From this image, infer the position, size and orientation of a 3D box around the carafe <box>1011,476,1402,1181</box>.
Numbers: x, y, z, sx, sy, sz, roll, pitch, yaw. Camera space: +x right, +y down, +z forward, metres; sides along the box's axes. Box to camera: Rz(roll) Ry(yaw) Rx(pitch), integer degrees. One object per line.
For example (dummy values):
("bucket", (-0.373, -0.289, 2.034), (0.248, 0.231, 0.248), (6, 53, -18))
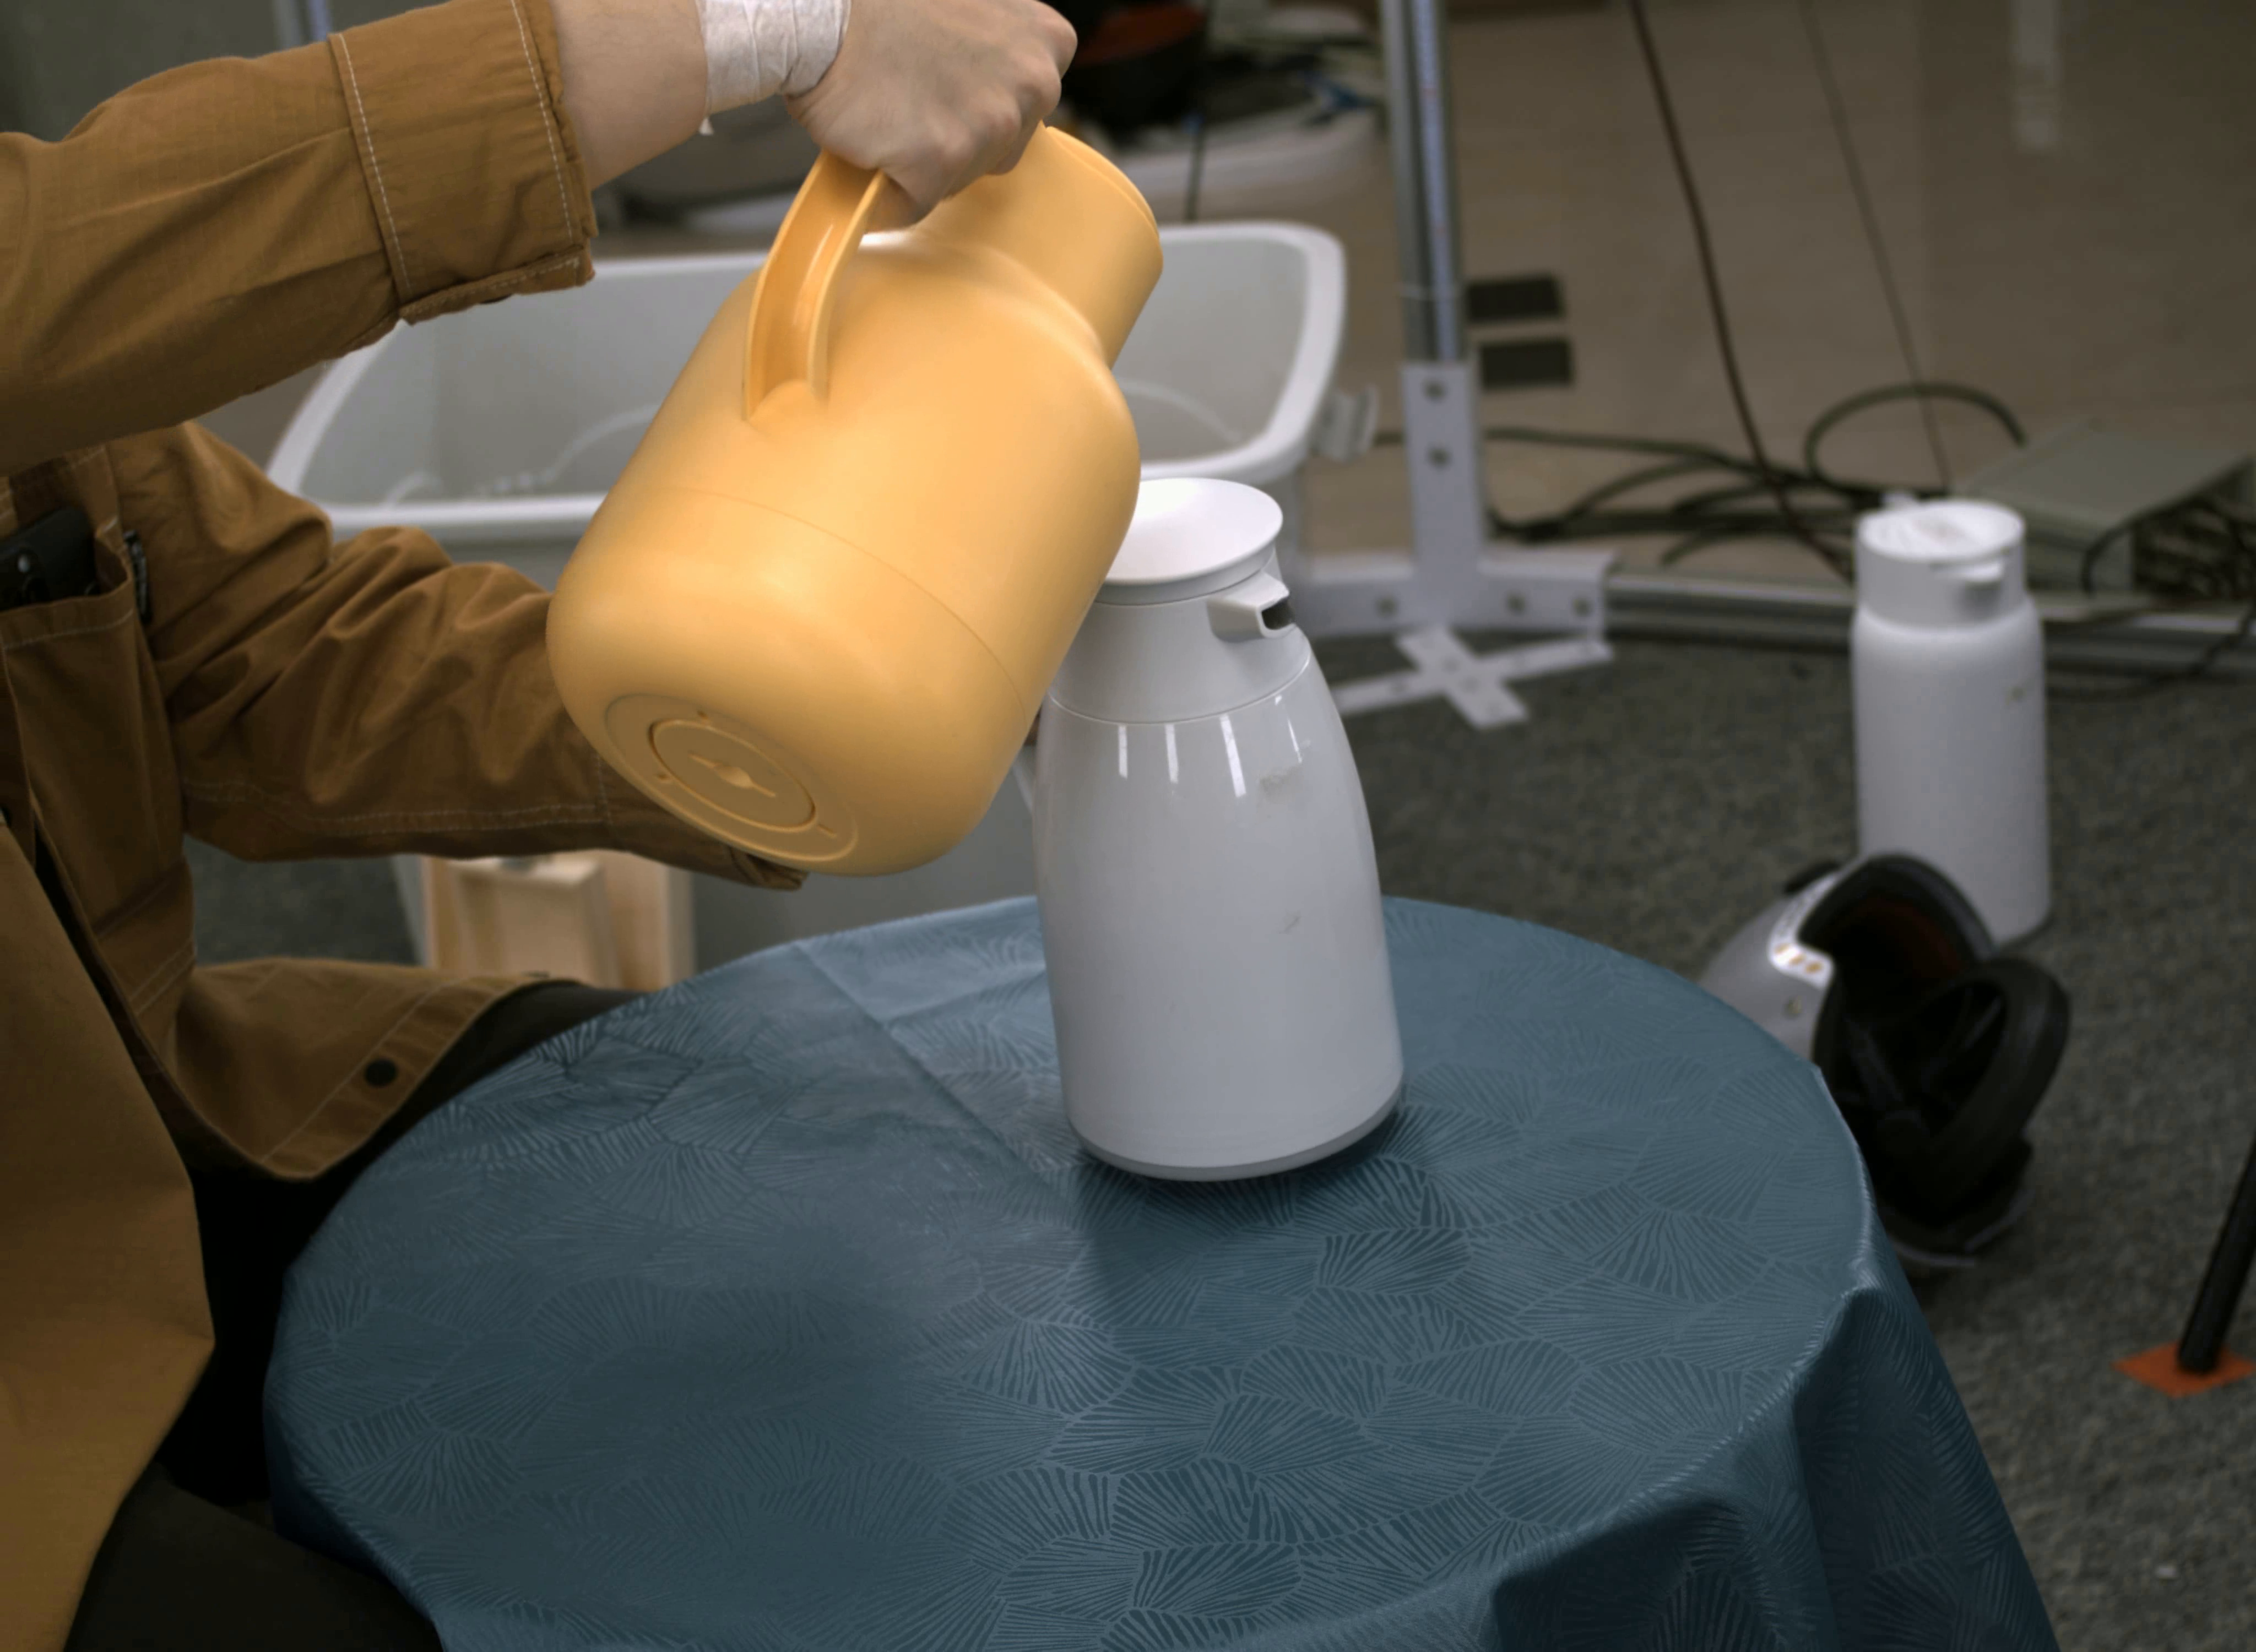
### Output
("carafe", (0.012, -0.010, 2.140), (0.131, 0.253, 0.166), (-29, 33, -35))

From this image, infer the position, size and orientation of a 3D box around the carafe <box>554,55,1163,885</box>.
("carafe", (-0.084, -0.130, 1.913), (0.162, 0.206, 0.257), (13, 63, 24))
